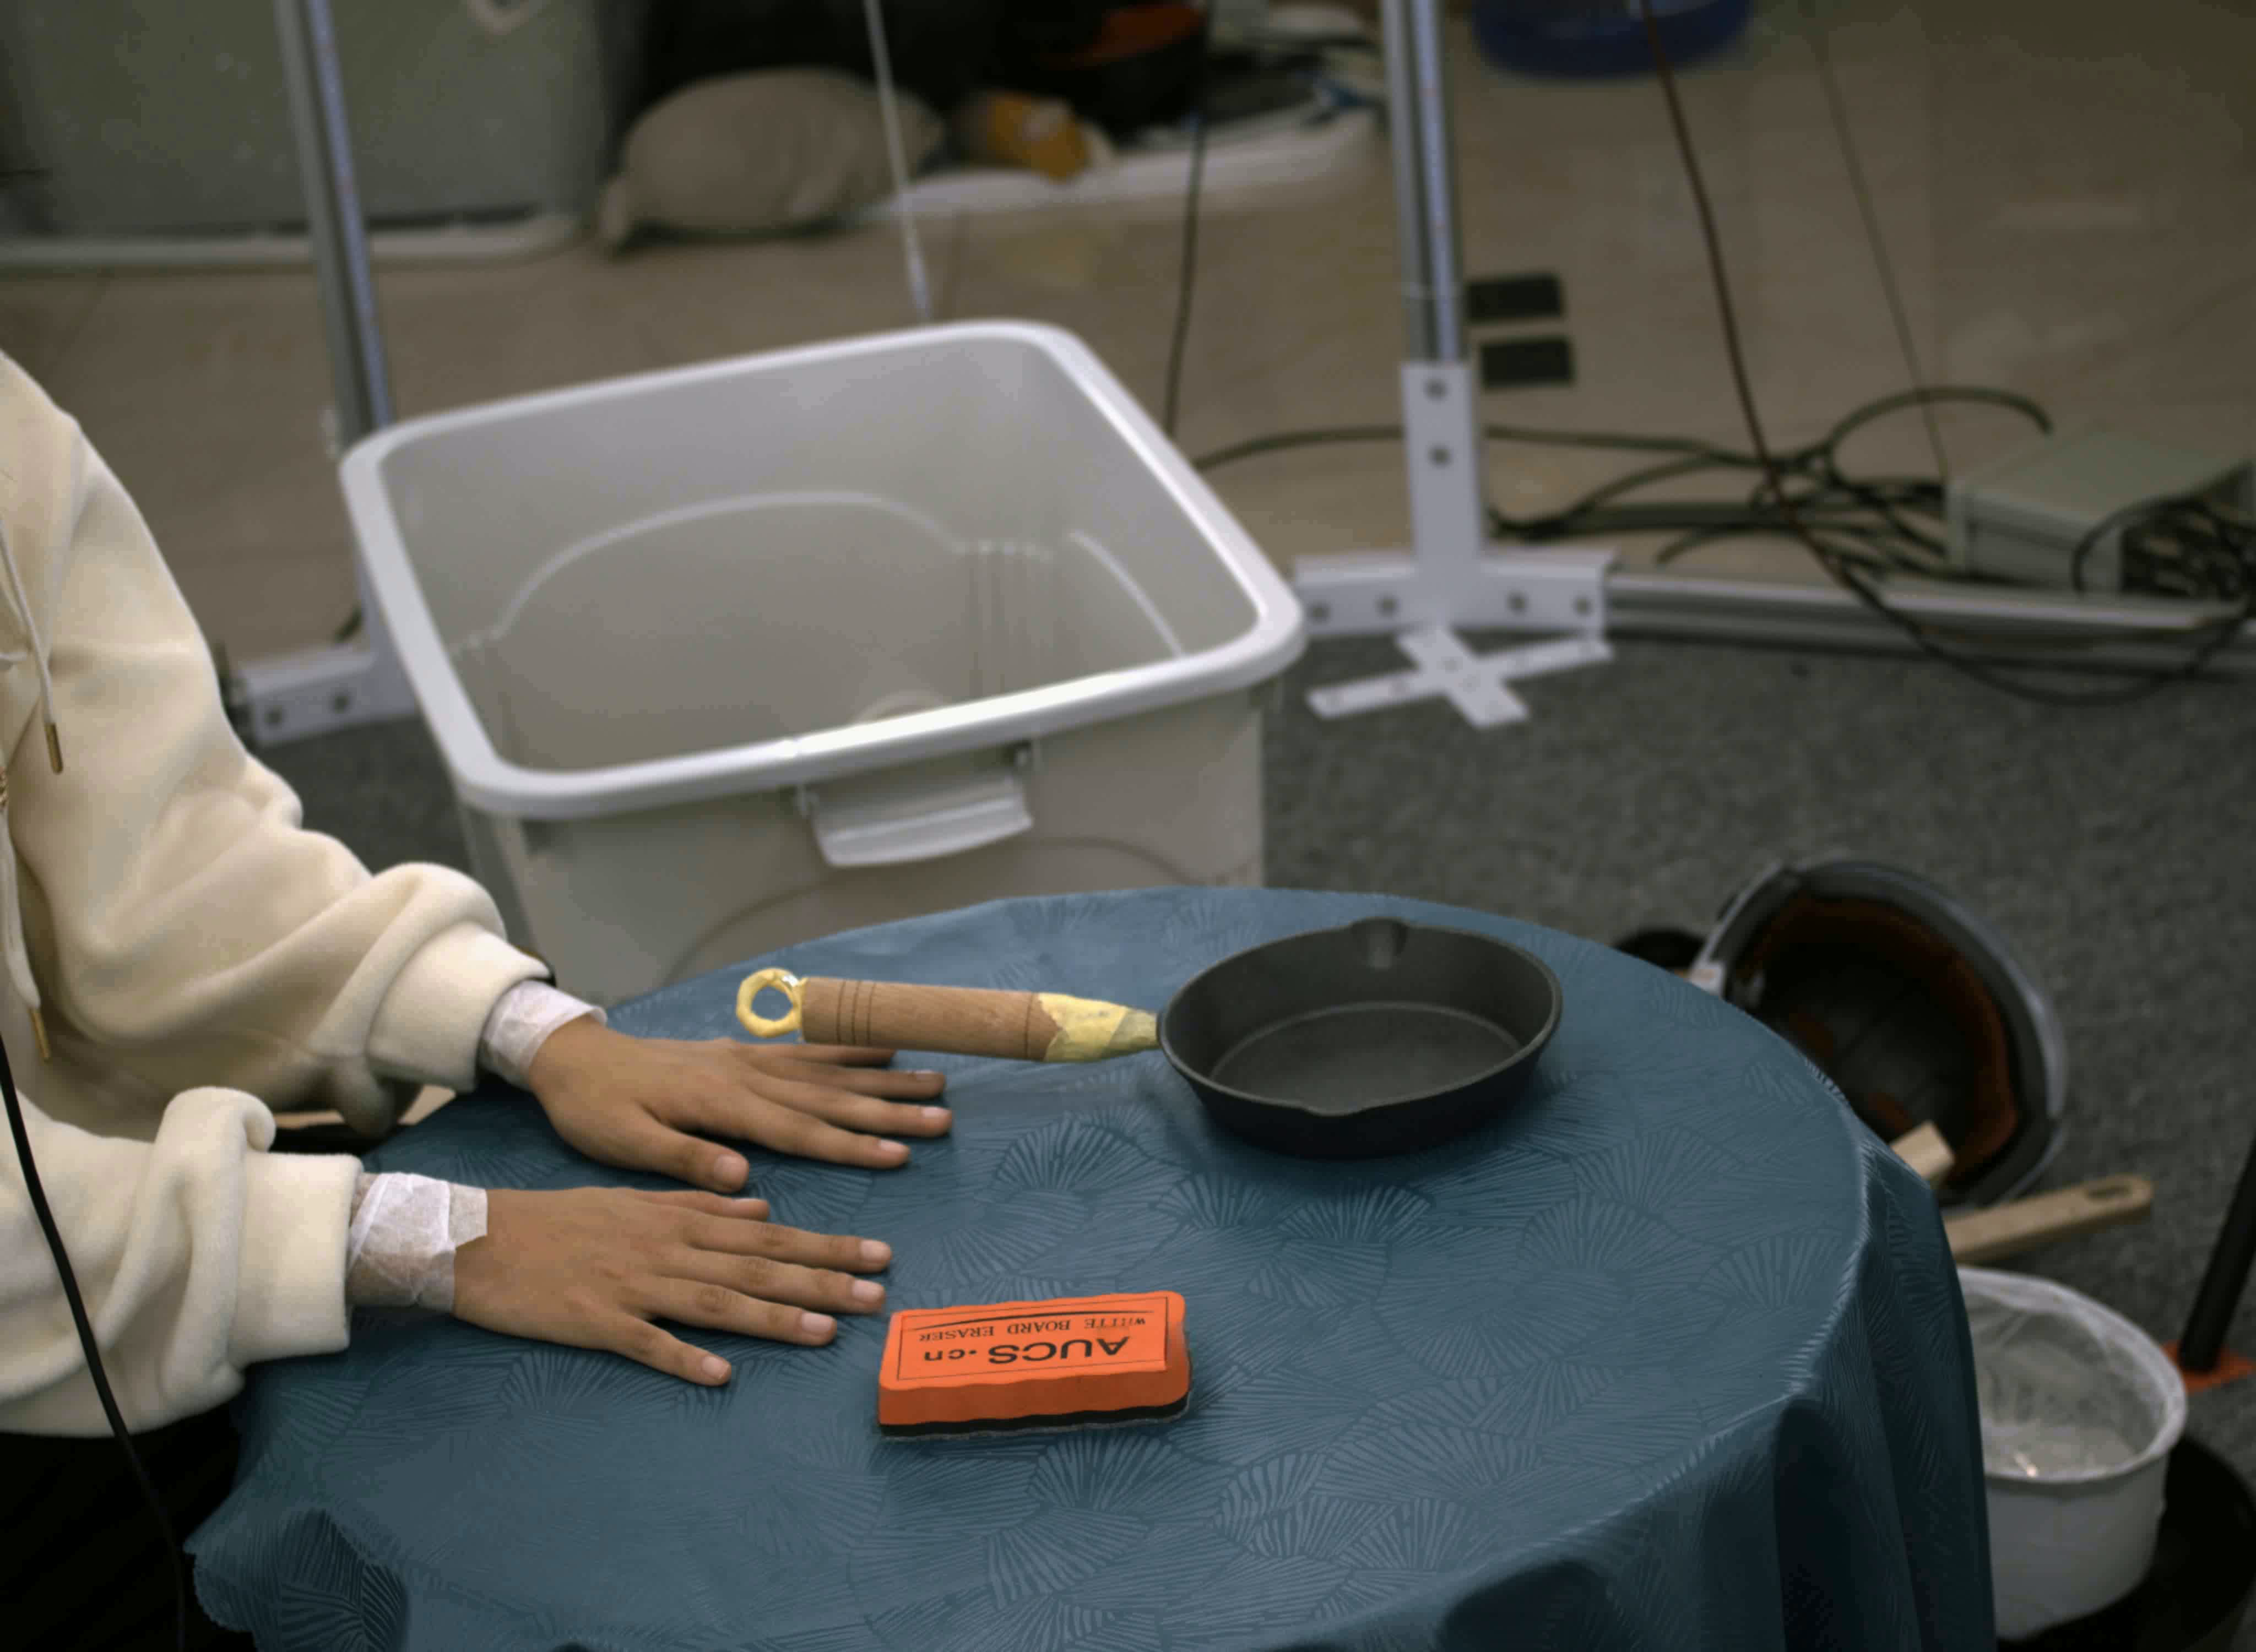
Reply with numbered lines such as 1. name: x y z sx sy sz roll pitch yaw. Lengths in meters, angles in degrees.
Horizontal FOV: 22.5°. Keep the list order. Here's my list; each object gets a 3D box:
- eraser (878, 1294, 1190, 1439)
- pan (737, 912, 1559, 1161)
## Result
1. eraser: -0.033 0.192 2.015 0.108 0.023 0.058 -4 25 5
2. pan: 0.007 0.080 2.212 0.323 0.050 0.166 0 26 11
